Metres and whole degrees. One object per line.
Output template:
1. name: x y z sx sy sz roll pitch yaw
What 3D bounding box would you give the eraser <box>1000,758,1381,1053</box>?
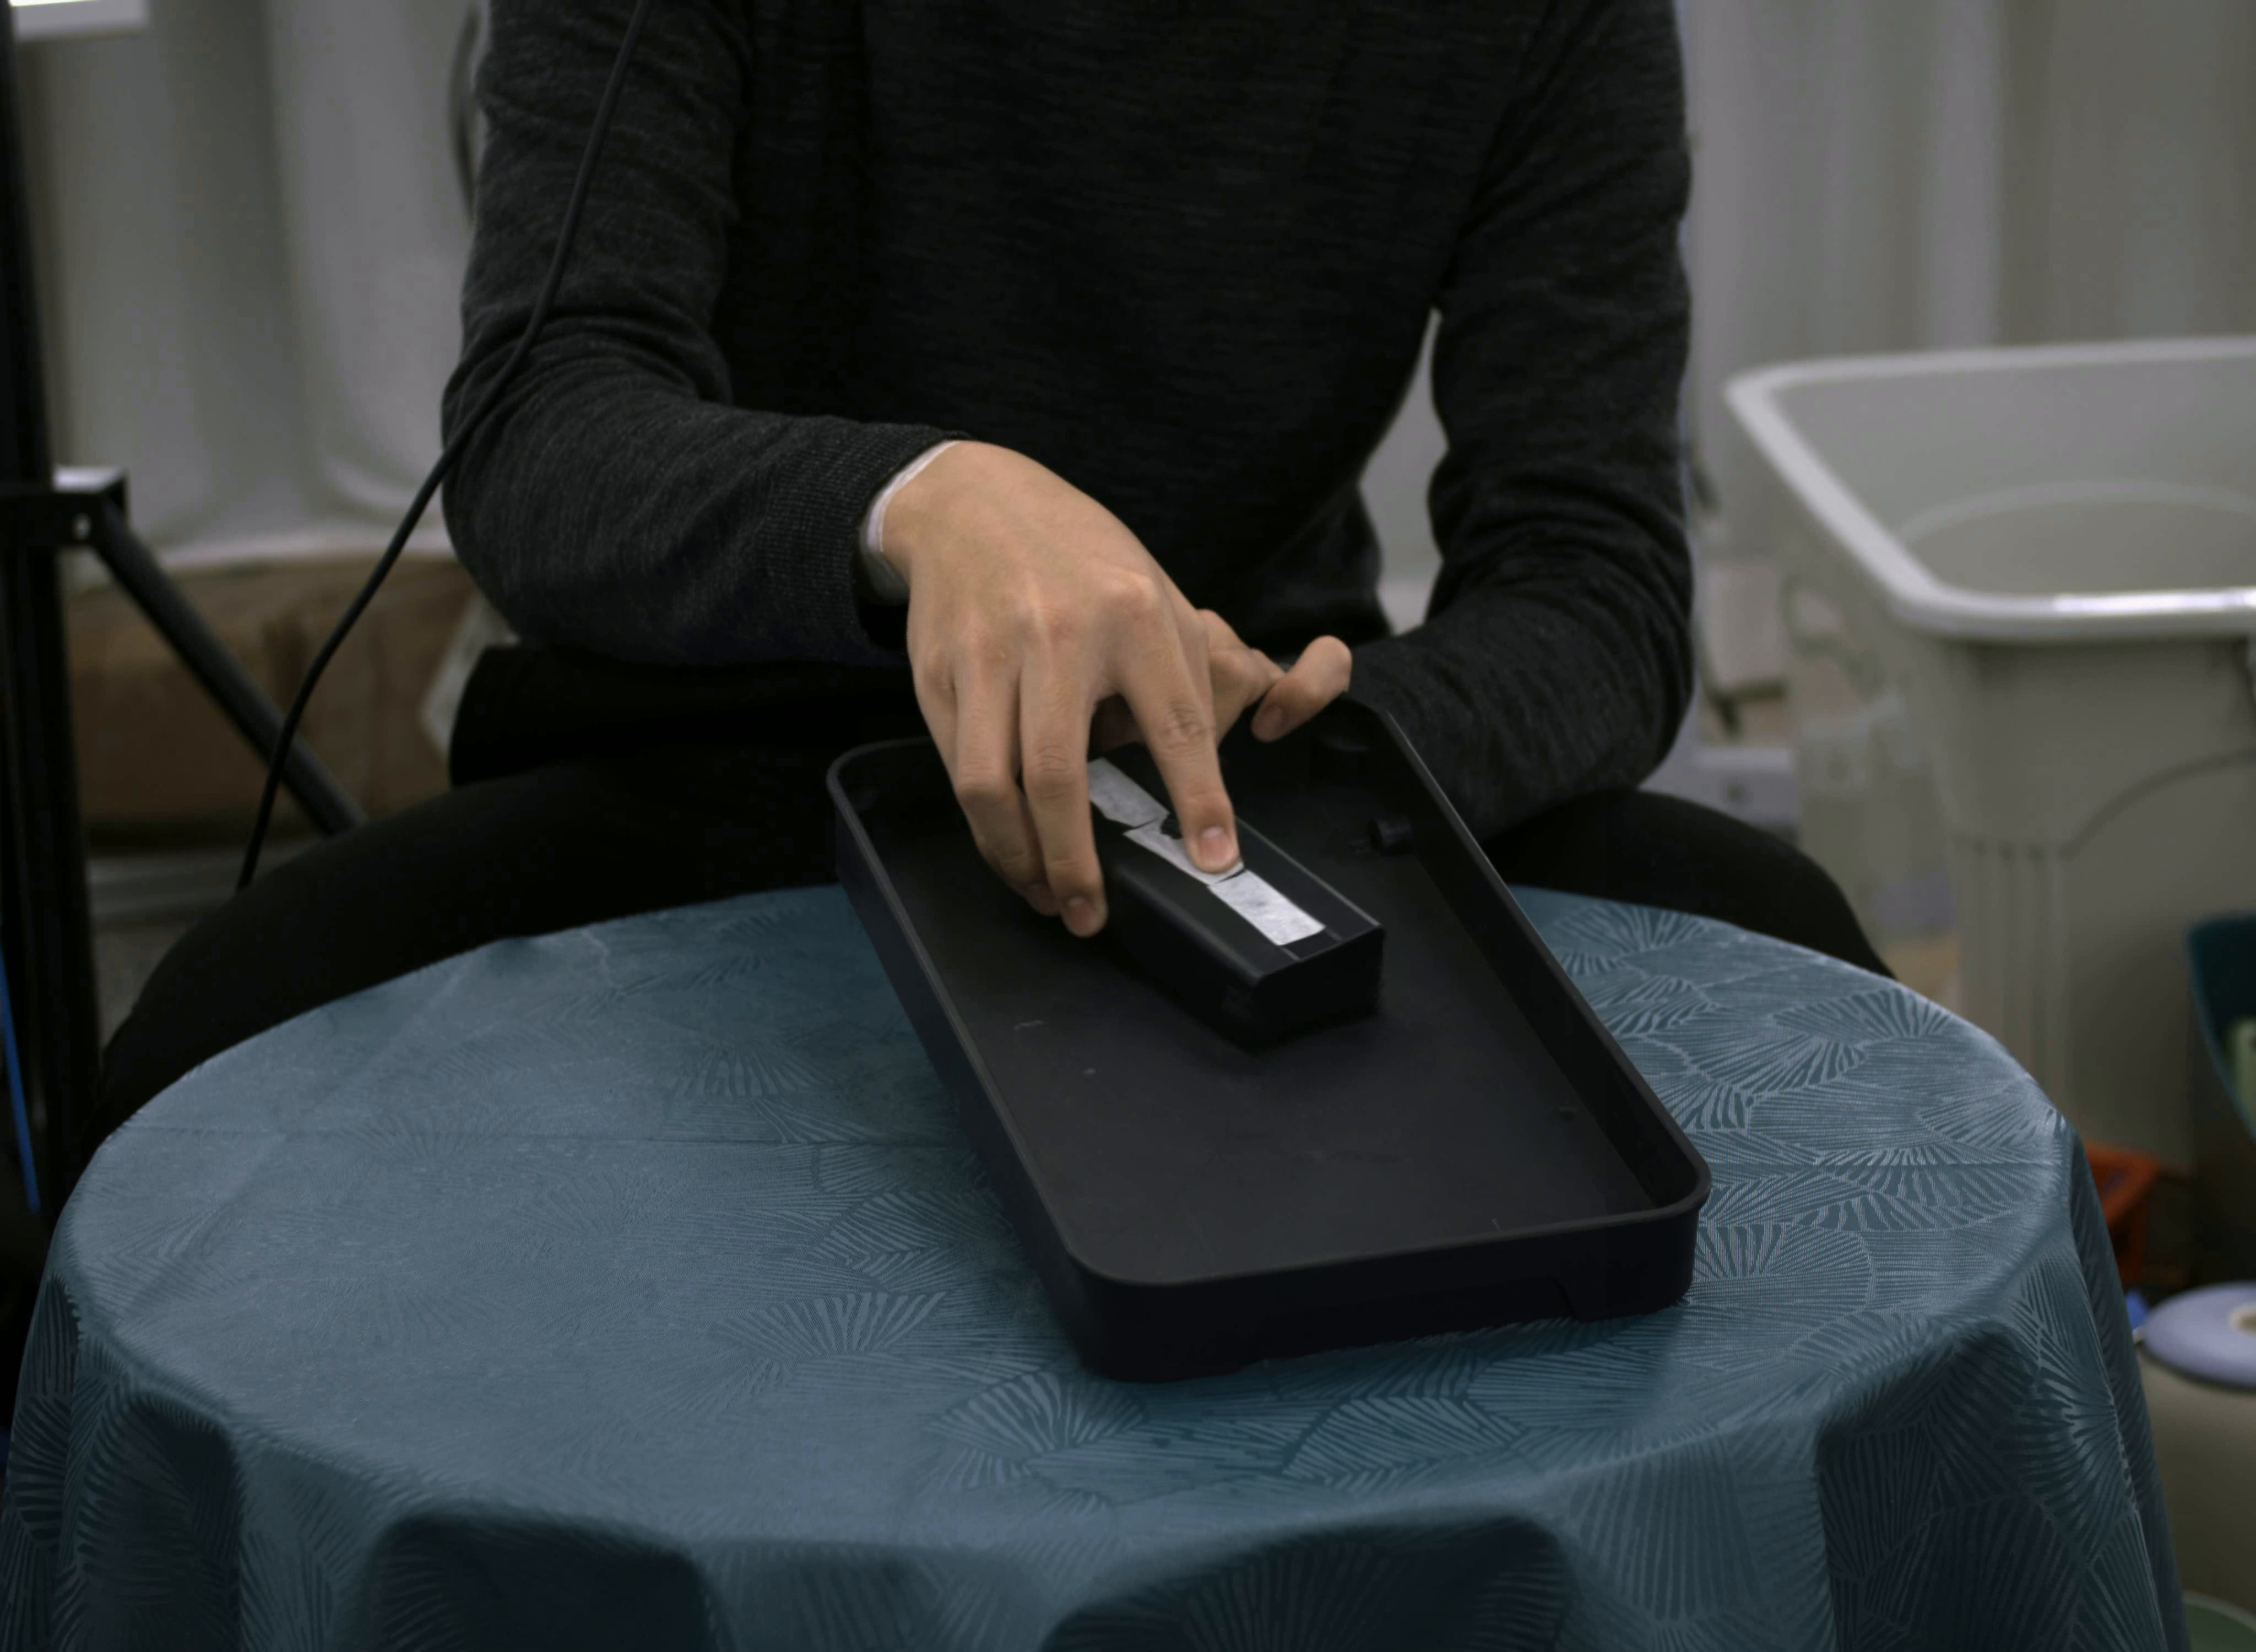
1. eraser: 0.018 0.023 1.598 0.052 0.030 0.128 -19 37 -31

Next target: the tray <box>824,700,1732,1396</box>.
1. tray: 0.035 0.057 1.547 0.181 0.037 0.324 -8 29 -15
